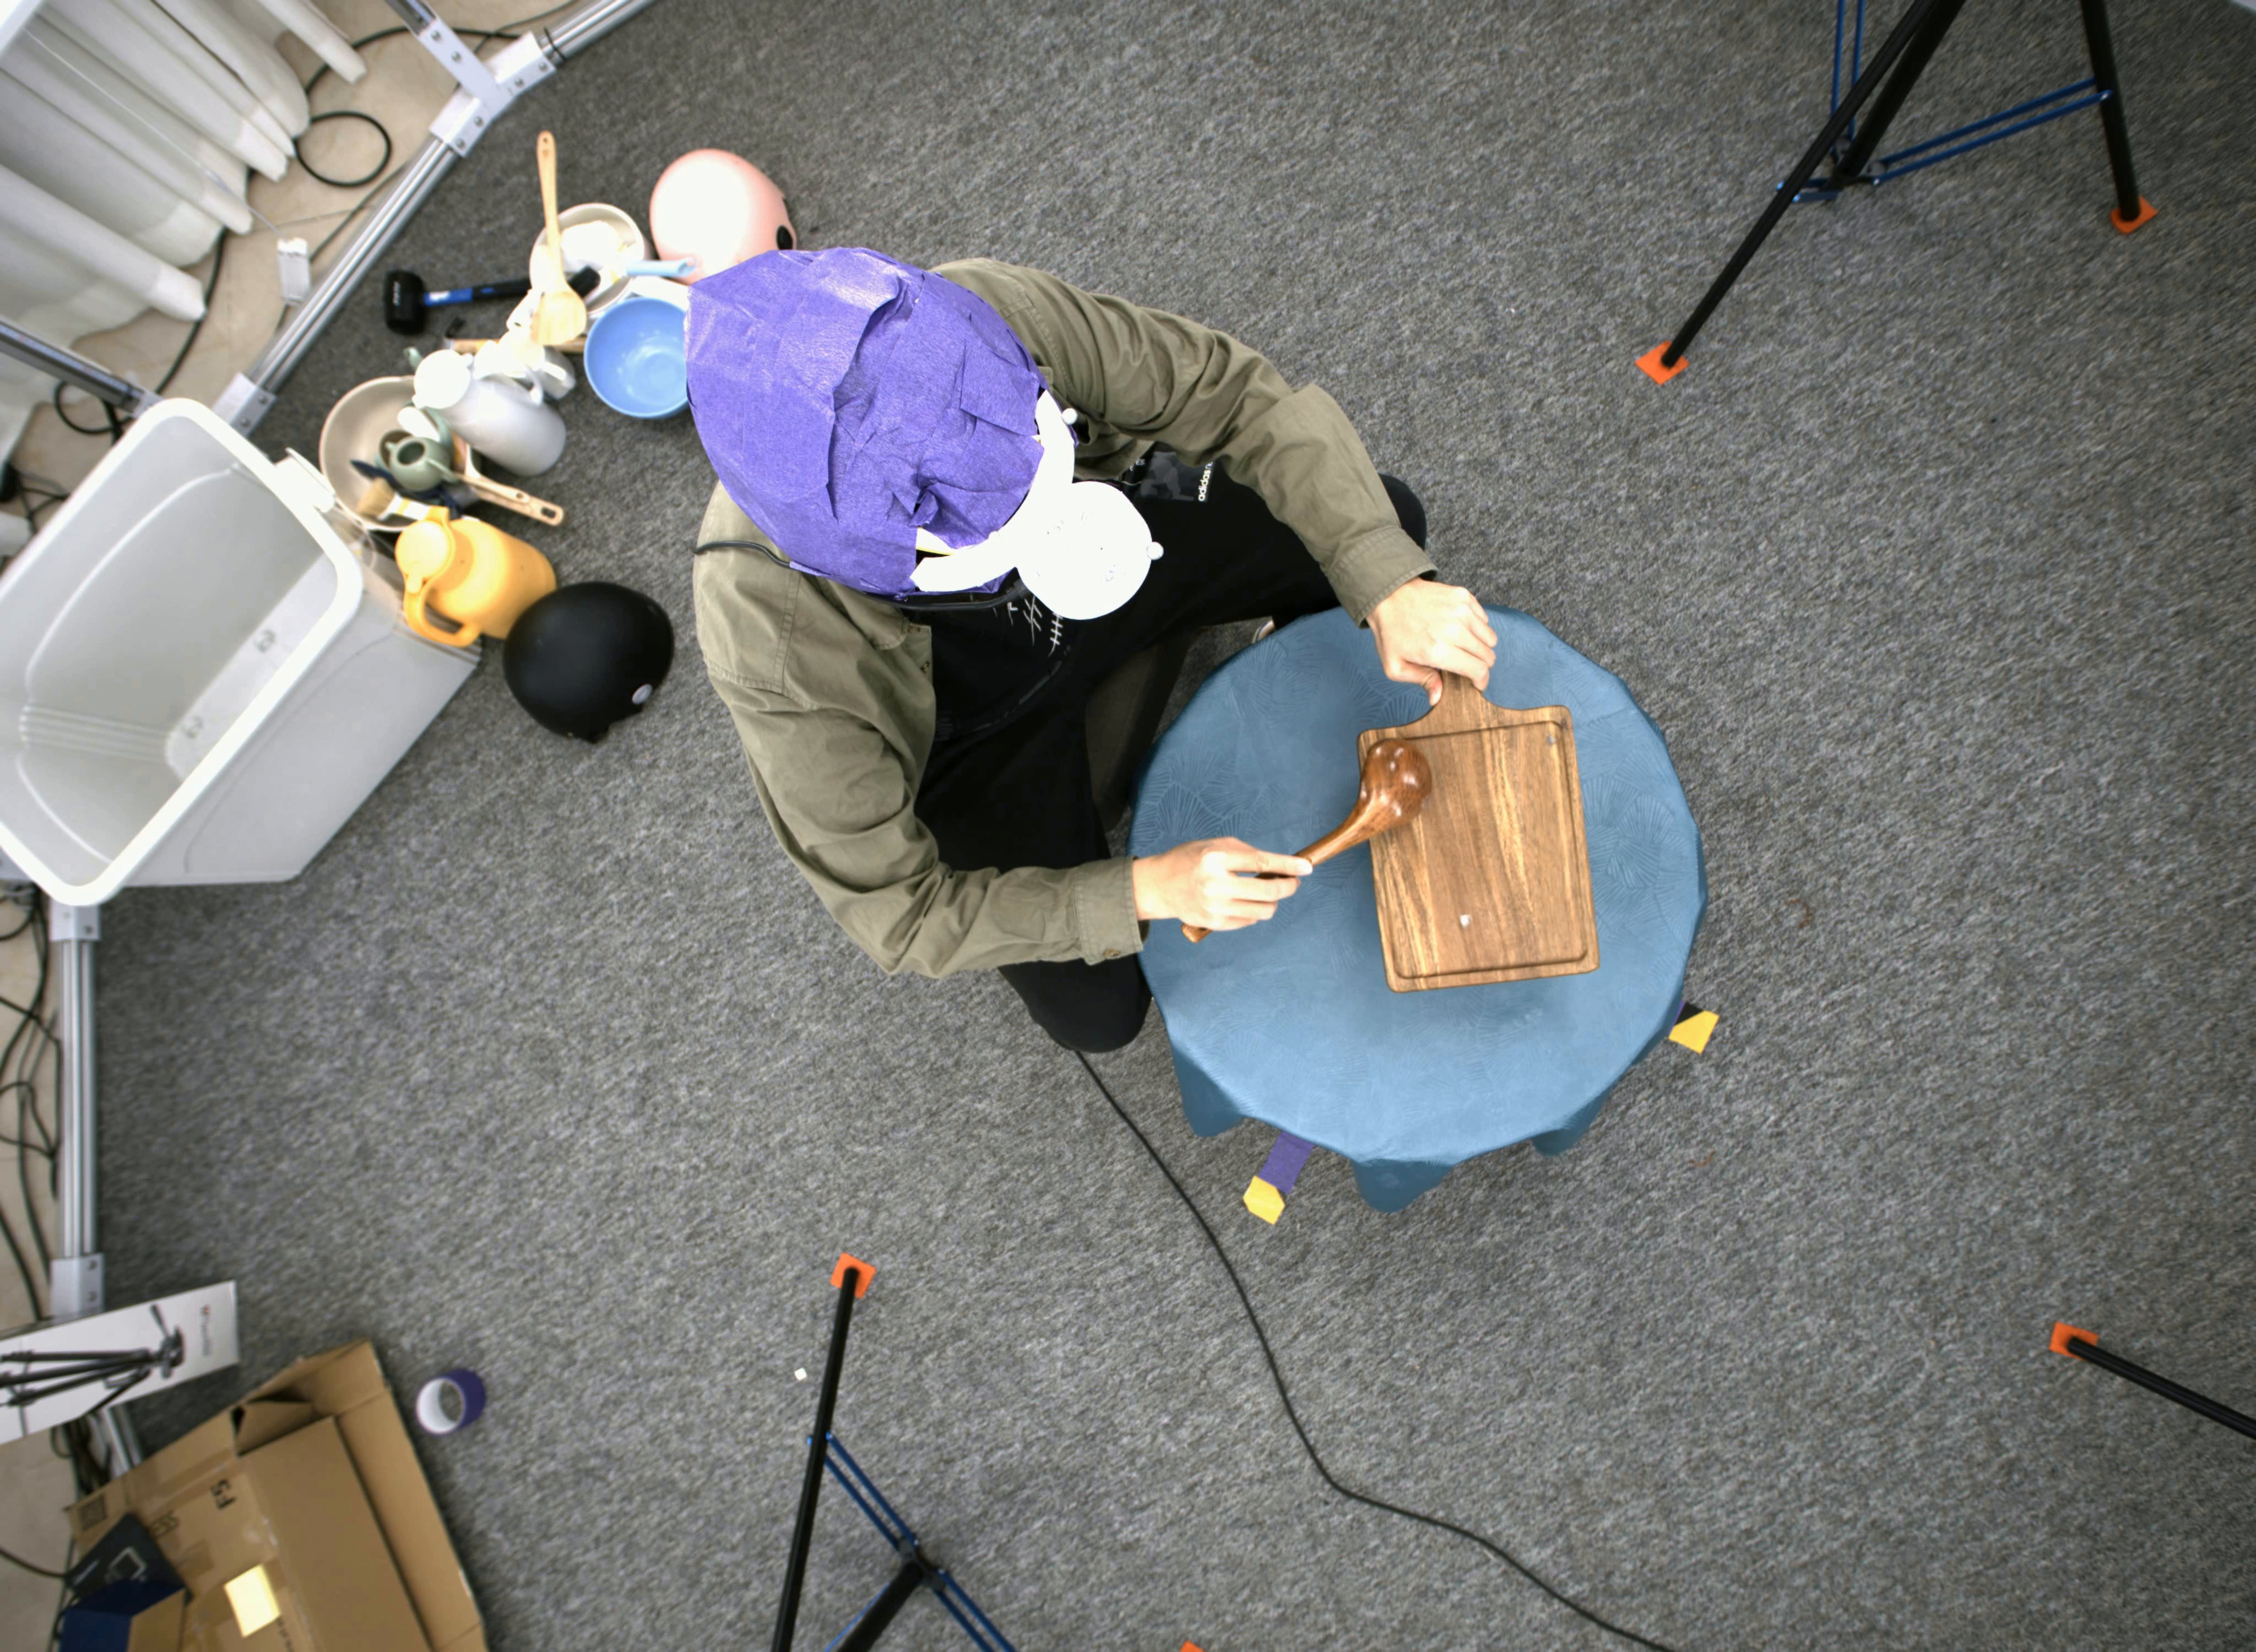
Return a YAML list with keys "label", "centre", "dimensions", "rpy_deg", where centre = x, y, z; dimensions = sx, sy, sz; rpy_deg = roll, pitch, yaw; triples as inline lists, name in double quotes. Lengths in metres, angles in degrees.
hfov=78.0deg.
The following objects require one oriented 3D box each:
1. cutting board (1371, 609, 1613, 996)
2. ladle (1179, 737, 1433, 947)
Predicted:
- label: "cutting board"
  centre: [0.331, -0.026, 1.267]
  dimensions: [0.202, 0.023, 0.353]
  rpy_deg: [-5, 97, 10]
- label: "ladle"
  centre: [0.157, 0.015, 1.267]
  dimensions: [0.278, 0.074, 0.083]
  rpy_deg: [-33, 119, 21]
